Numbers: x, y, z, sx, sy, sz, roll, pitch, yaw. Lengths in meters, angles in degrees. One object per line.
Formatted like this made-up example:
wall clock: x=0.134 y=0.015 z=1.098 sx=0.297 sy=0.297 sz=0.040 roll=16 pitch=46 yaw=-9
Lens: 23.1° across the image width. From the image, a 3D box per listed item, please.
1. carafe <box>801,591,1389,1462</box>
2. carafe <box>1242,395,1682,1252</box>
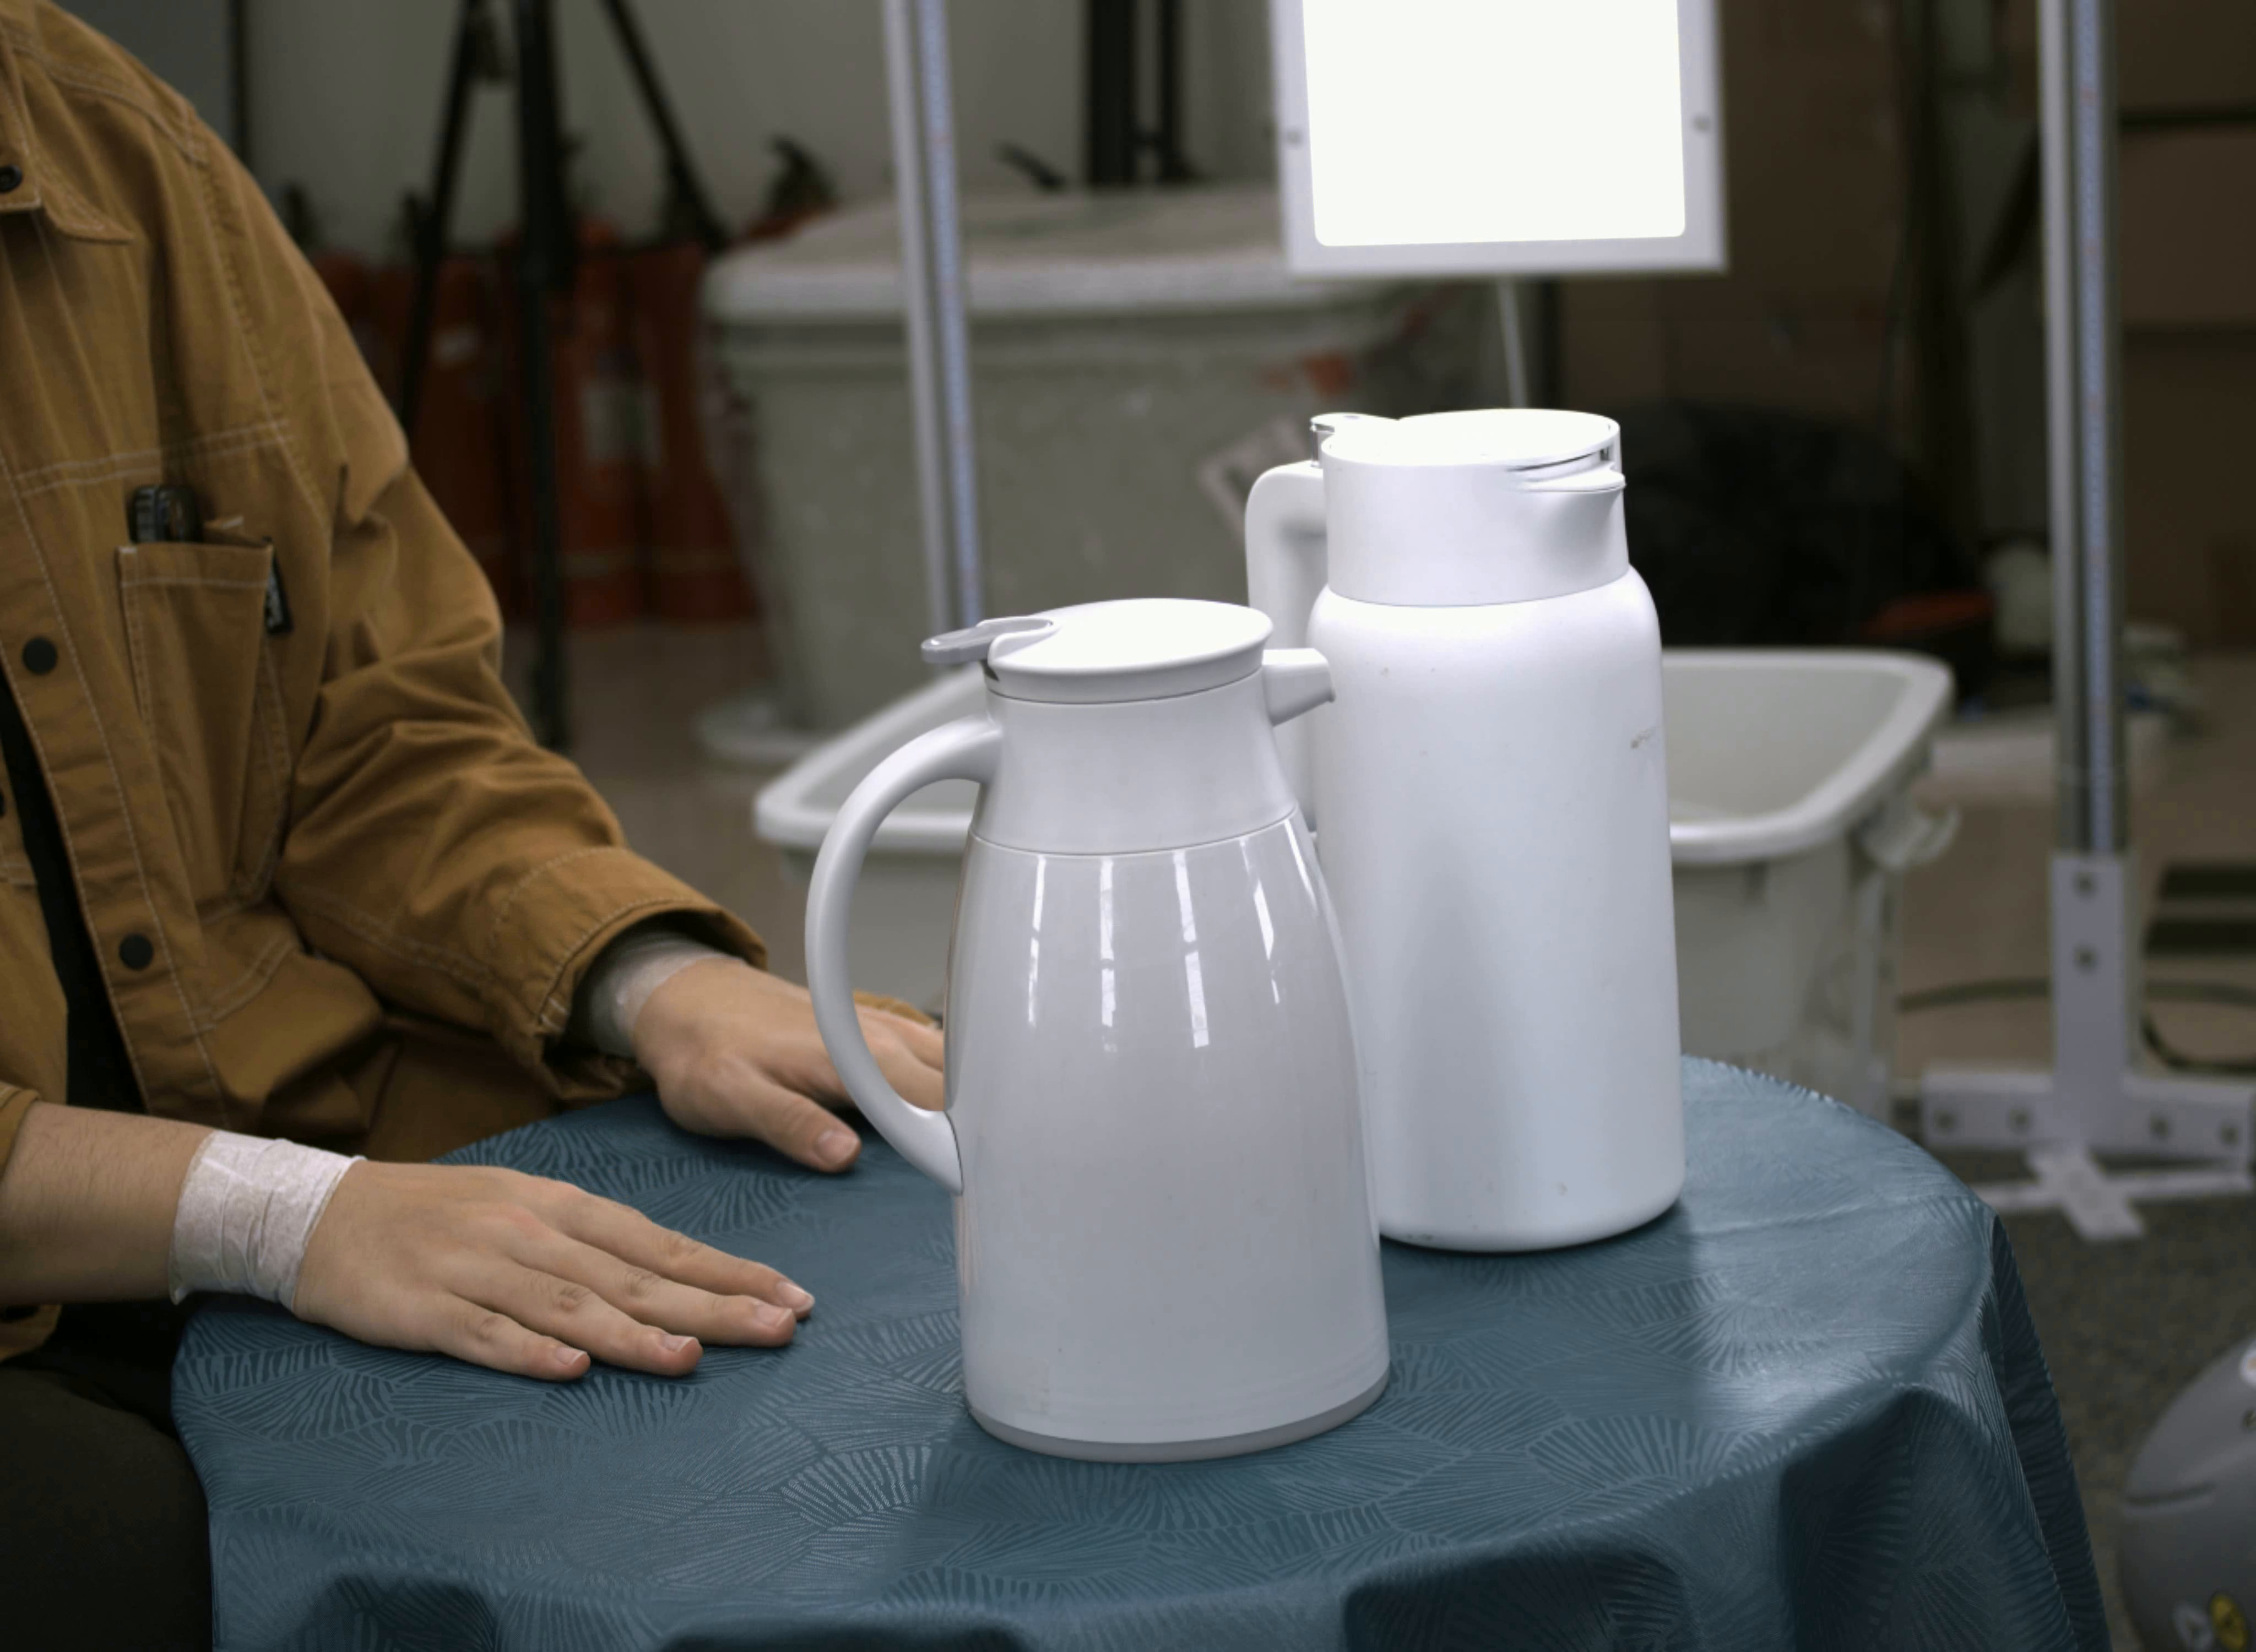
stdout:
carafe: x=-0.013 y=0.057 z=1.666 sx=0.166 sy=0.249 sz=0.133 roll=-8 pitch=14 yaw=-9
carafe: x=0.108 y=-0.003 z=1.826 sx=0.121 sy=0.270 sz=0.176 roll=-17 pitch=18 yaw=-35
